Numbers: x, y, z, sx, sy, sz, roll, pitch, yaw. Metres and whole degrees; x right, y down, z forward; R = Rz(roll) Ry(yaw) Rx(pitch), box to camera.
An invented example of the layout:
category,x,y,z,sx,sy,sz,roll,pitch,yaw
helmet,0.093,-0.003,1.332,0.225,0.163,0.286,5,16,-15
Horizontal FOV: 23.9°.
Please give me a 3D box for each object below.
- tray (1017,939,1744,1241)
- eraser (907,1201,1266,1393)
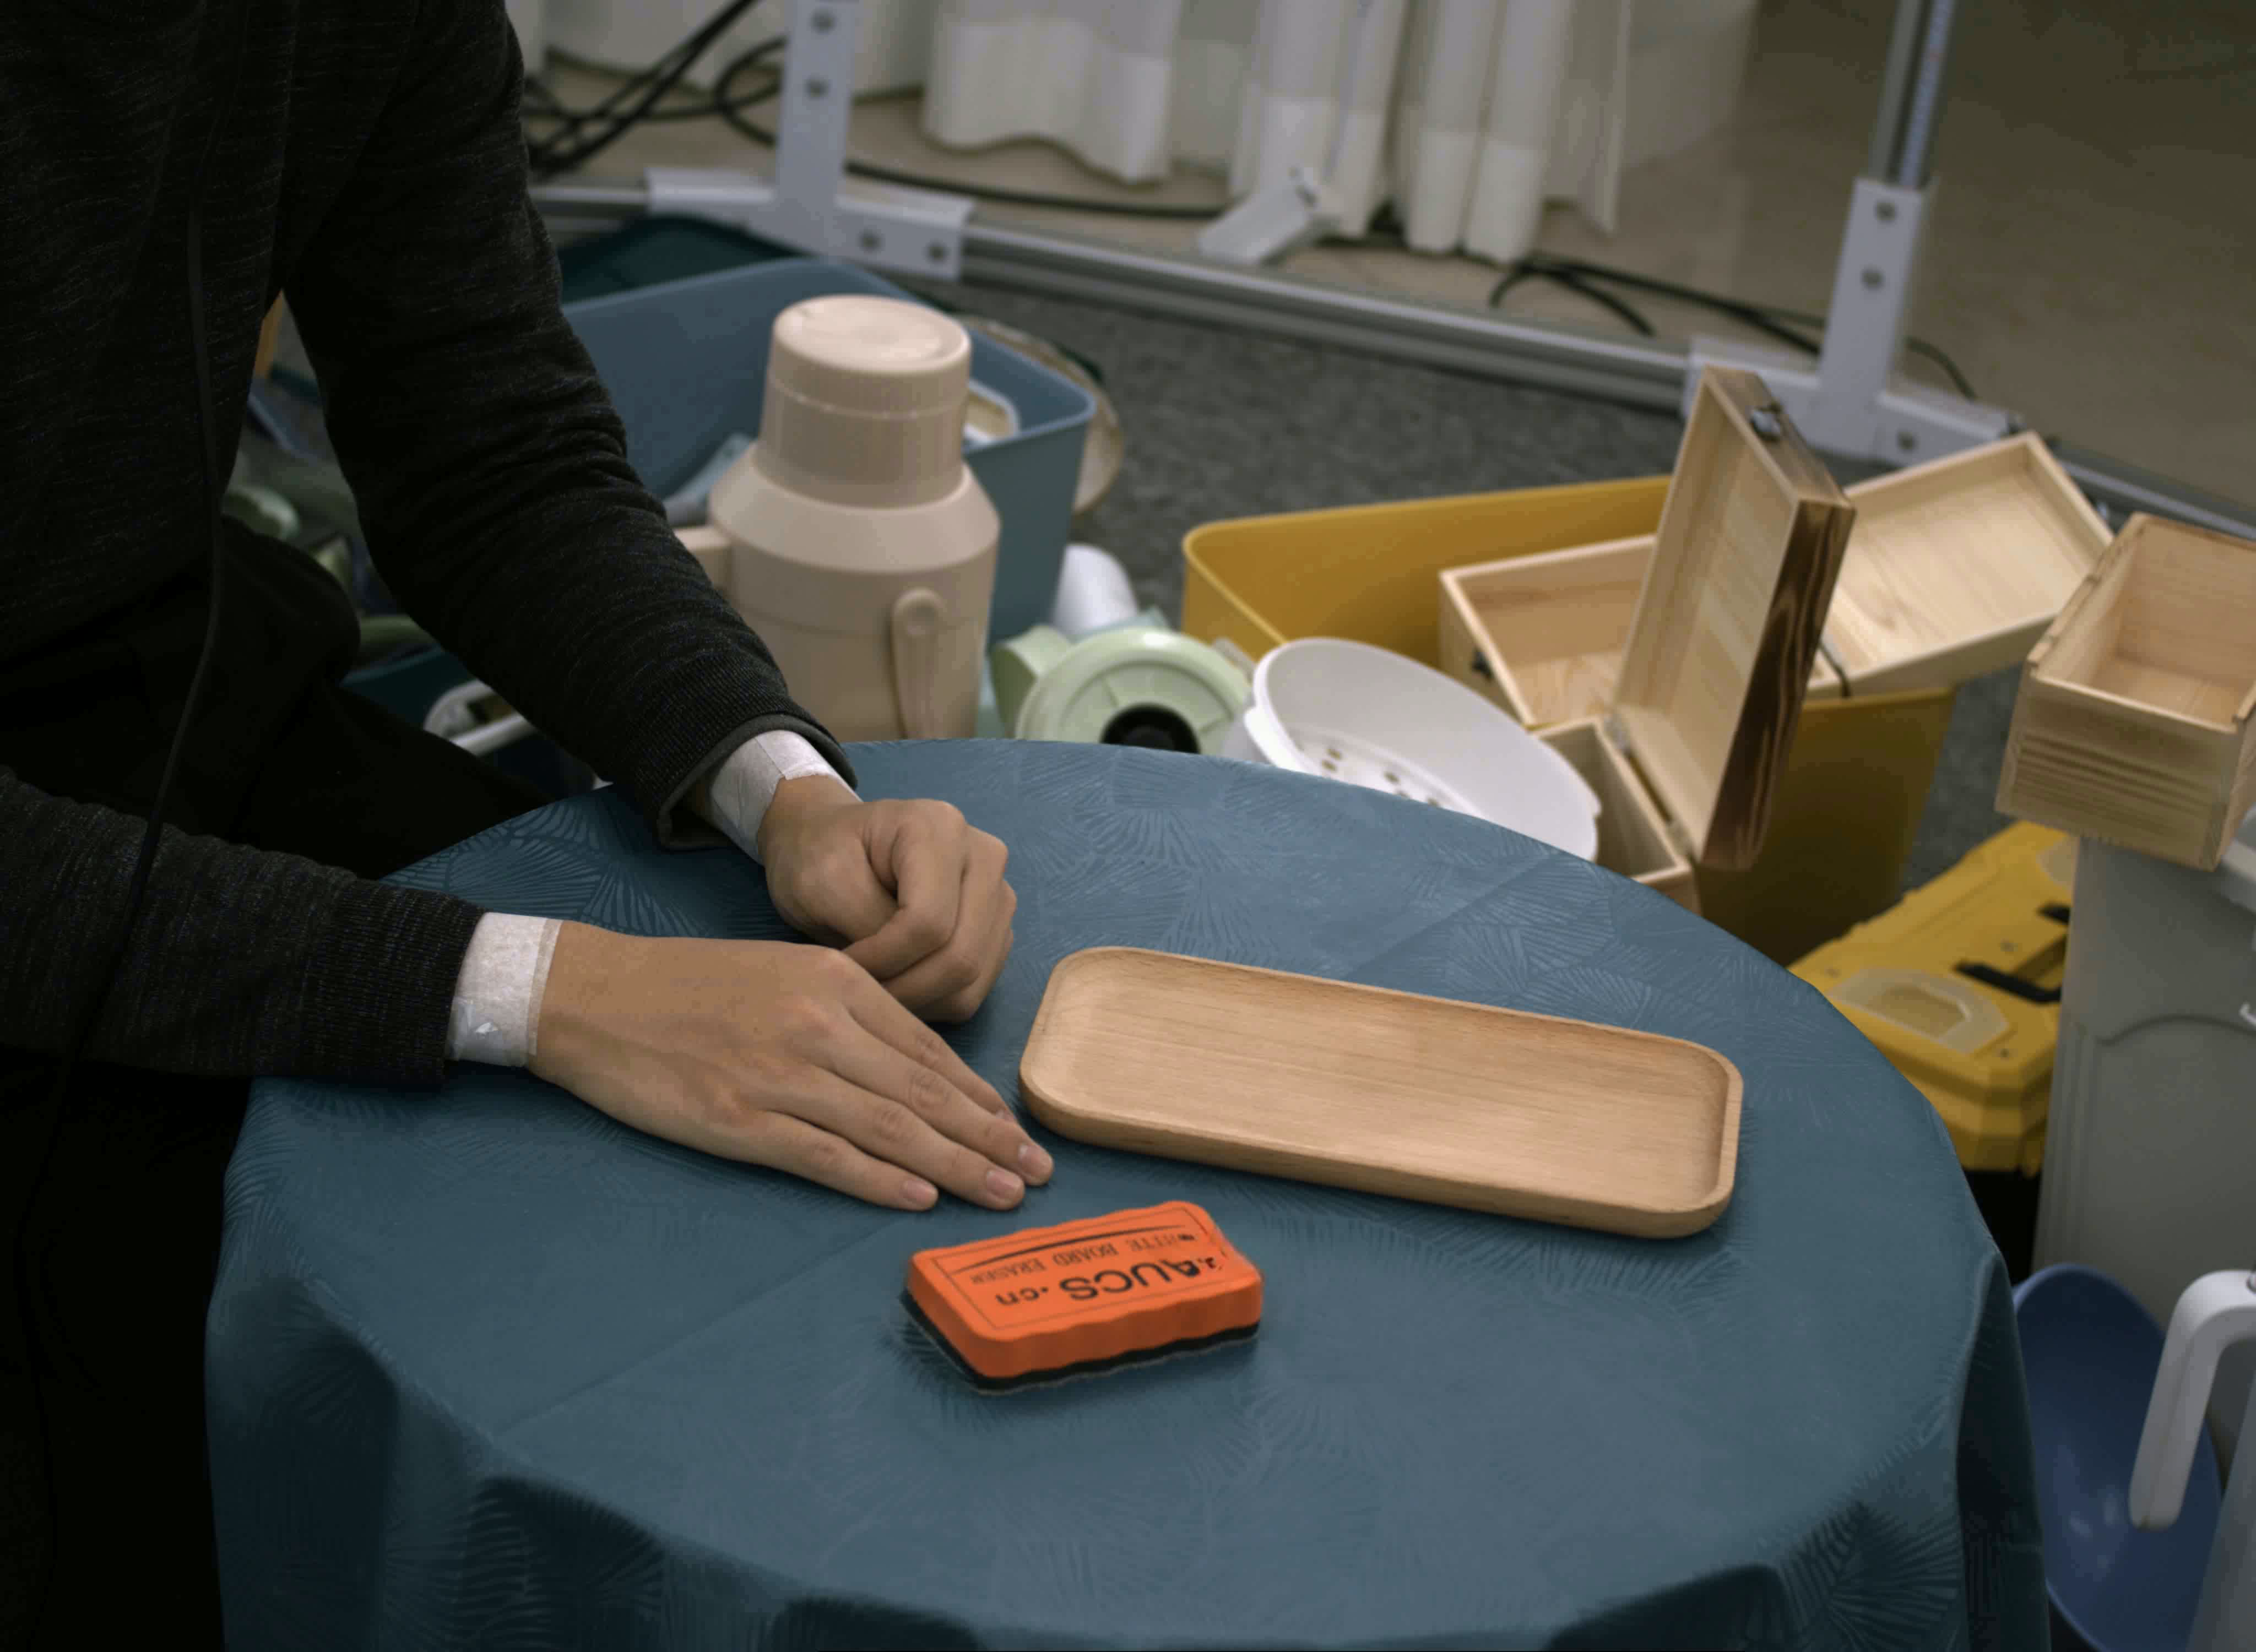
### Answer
category,x,y,z,sx,sy,sz,roll,pitch,yaw
tray,0.089,0.092,1.864,0.250,0.023,0.131,9,25,7
eraser,-0.013,0.152,1.717,0.107,0.023,0.059,-8,31,-27
